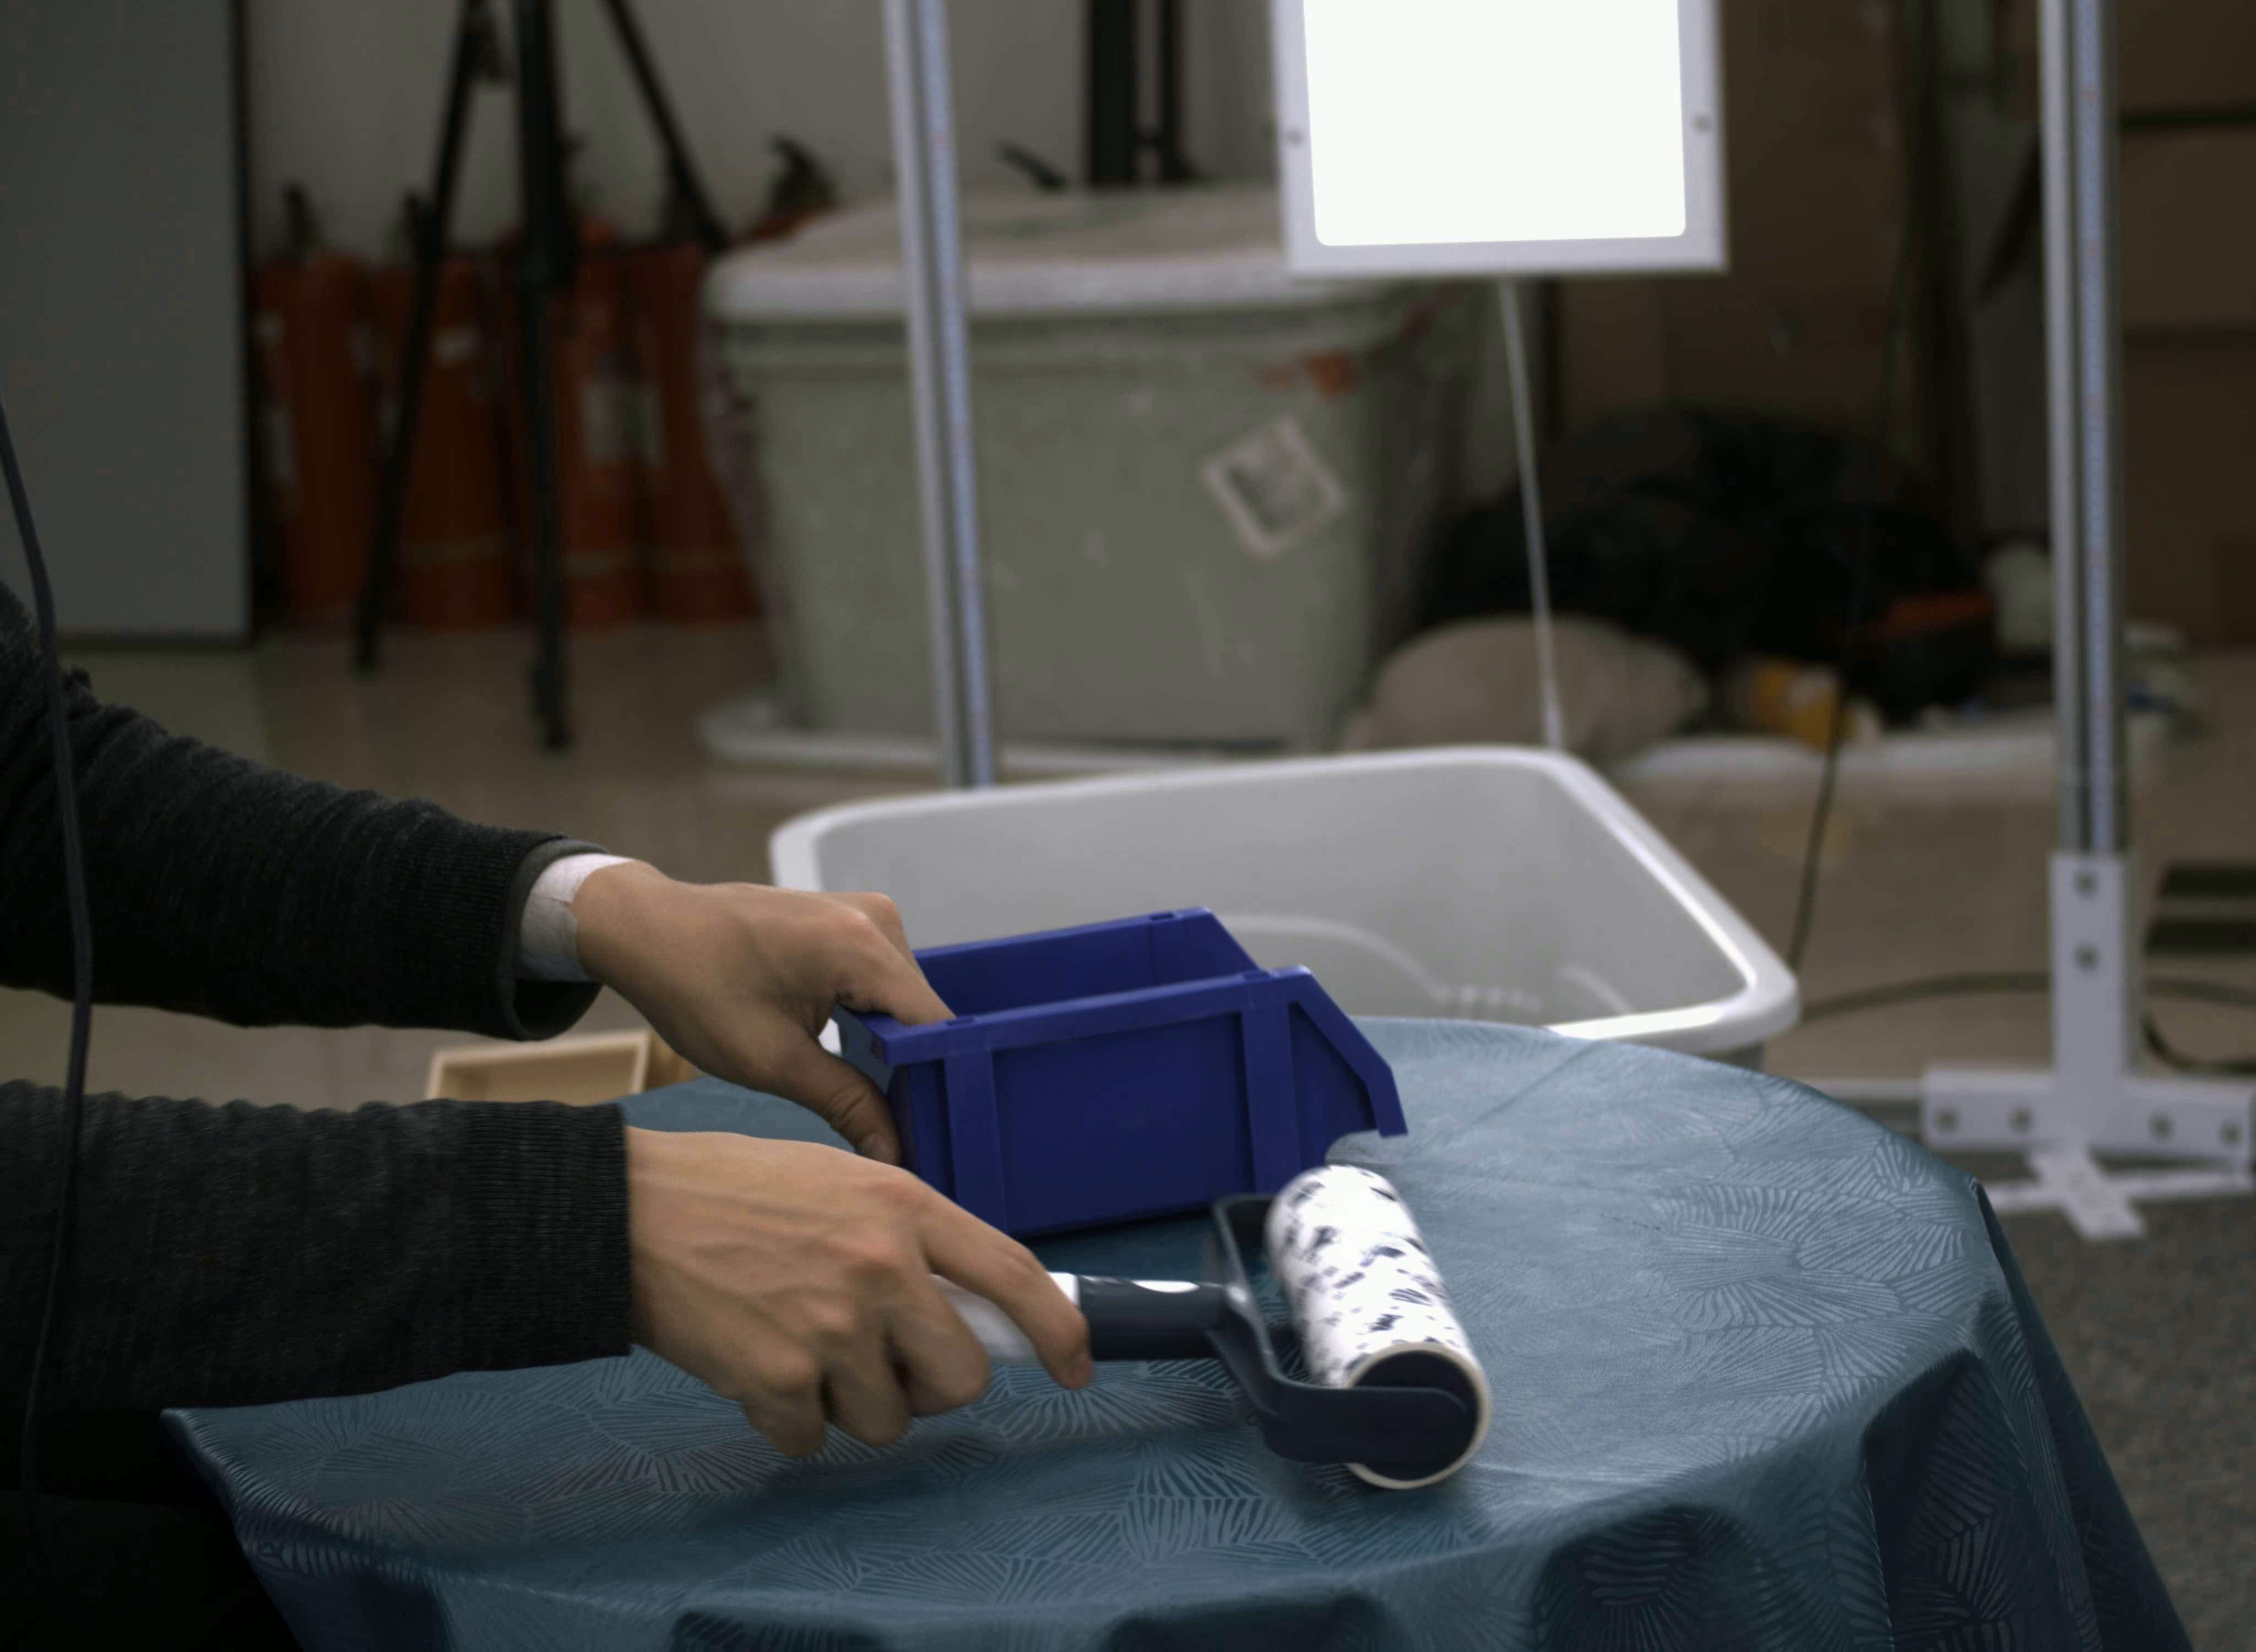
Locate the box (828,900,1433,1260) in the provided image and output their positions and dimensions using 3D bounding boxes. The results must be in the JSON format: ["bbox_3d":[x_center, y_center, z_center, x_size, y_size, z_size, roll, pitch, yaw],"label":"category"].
[{"bbox_3d":[0.000,0.084,1.895,0.177,0.082,0.125,-11,13,-12],"label":"box"}]

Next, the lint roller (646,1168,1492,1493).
[{"bbox_3d":[-0.021,0.148,1.659,0.245,0.050,0.176,2,15,-5],"label":"lint roller"}]
